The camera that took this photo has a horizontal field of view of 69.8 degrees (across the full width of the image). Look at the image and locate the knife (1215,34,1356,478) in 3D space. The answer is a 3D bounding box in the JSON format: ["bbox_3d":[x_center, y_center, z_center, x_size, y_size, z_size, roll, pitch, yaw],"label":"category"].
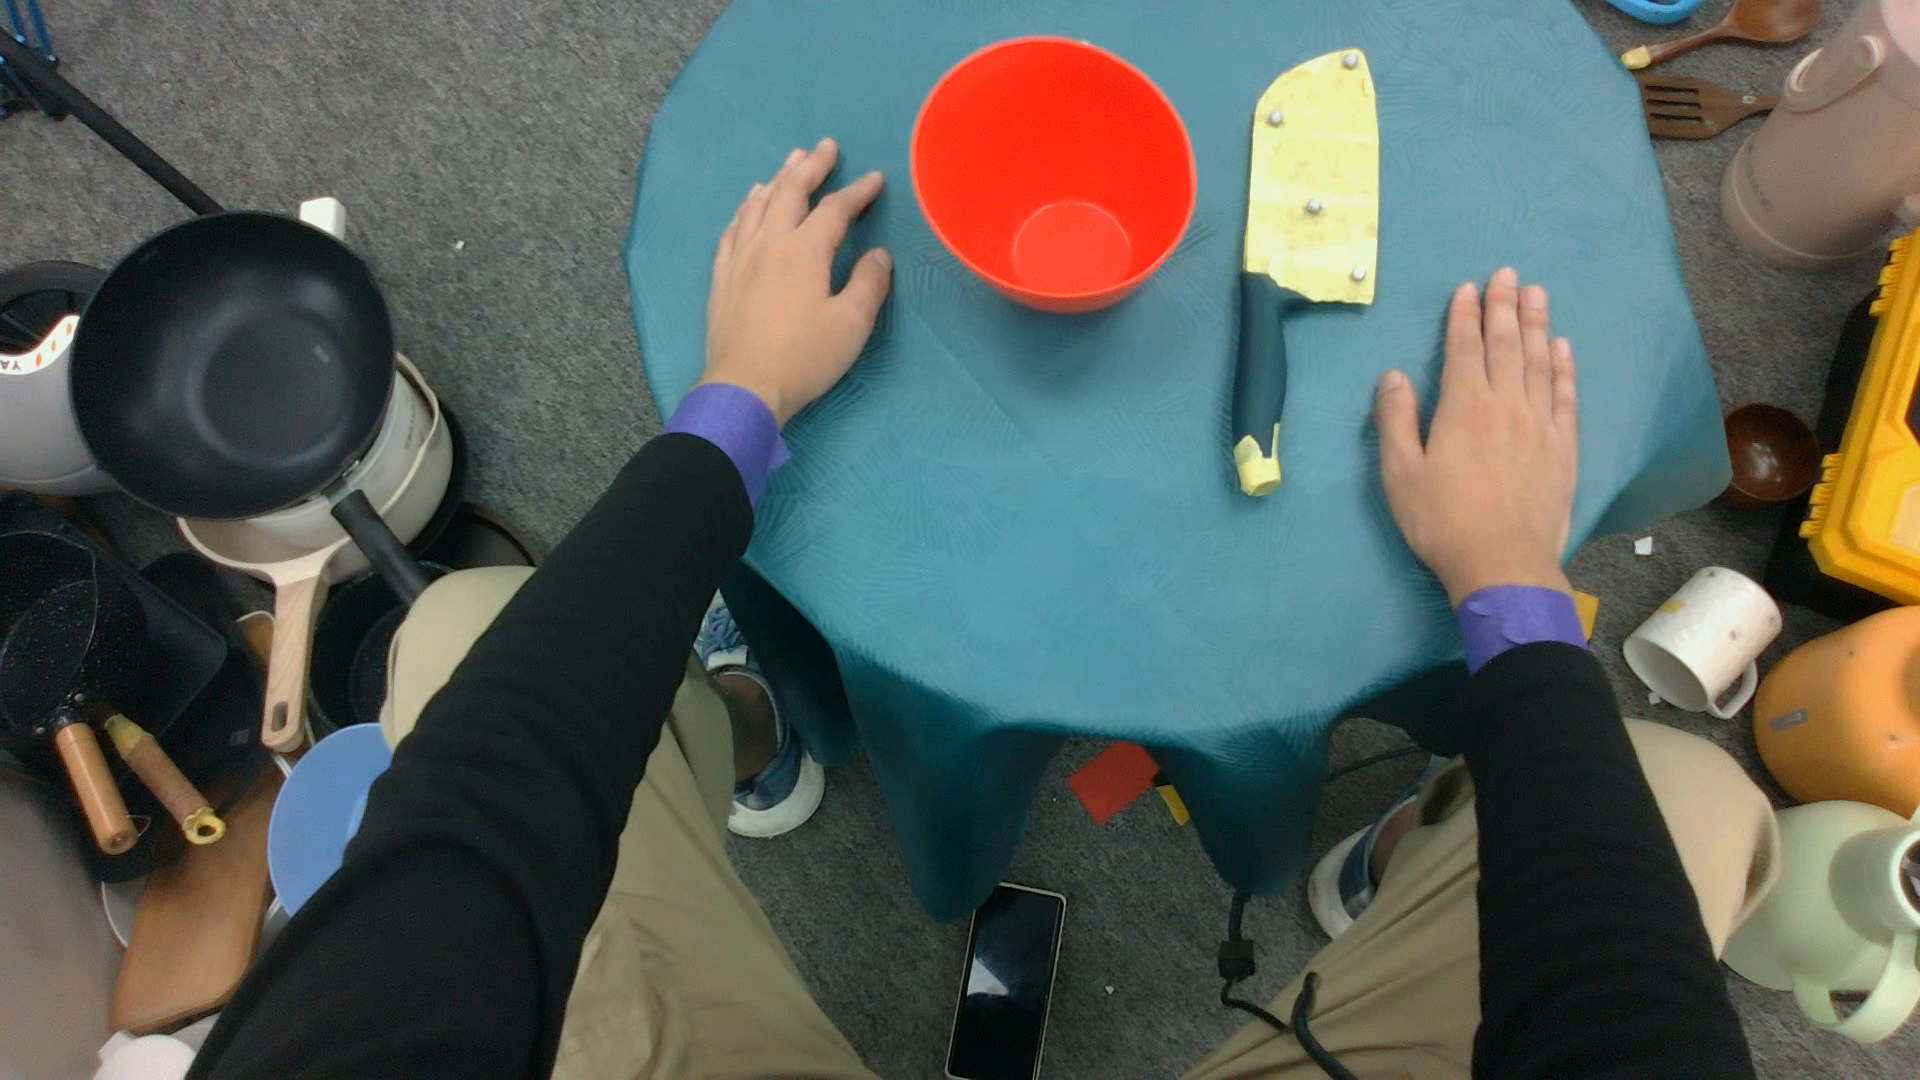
[{"bbox_3d":[0.184,-0.169,0.783,0.081,0.027,0.290,8,72,6],"label":"knife"}]

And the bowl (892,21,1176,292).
[{"bbox_3d":[0.041,-0.193,0.751,0.148,0.104,0.148,0,72,1],"label":"bowl"}]
